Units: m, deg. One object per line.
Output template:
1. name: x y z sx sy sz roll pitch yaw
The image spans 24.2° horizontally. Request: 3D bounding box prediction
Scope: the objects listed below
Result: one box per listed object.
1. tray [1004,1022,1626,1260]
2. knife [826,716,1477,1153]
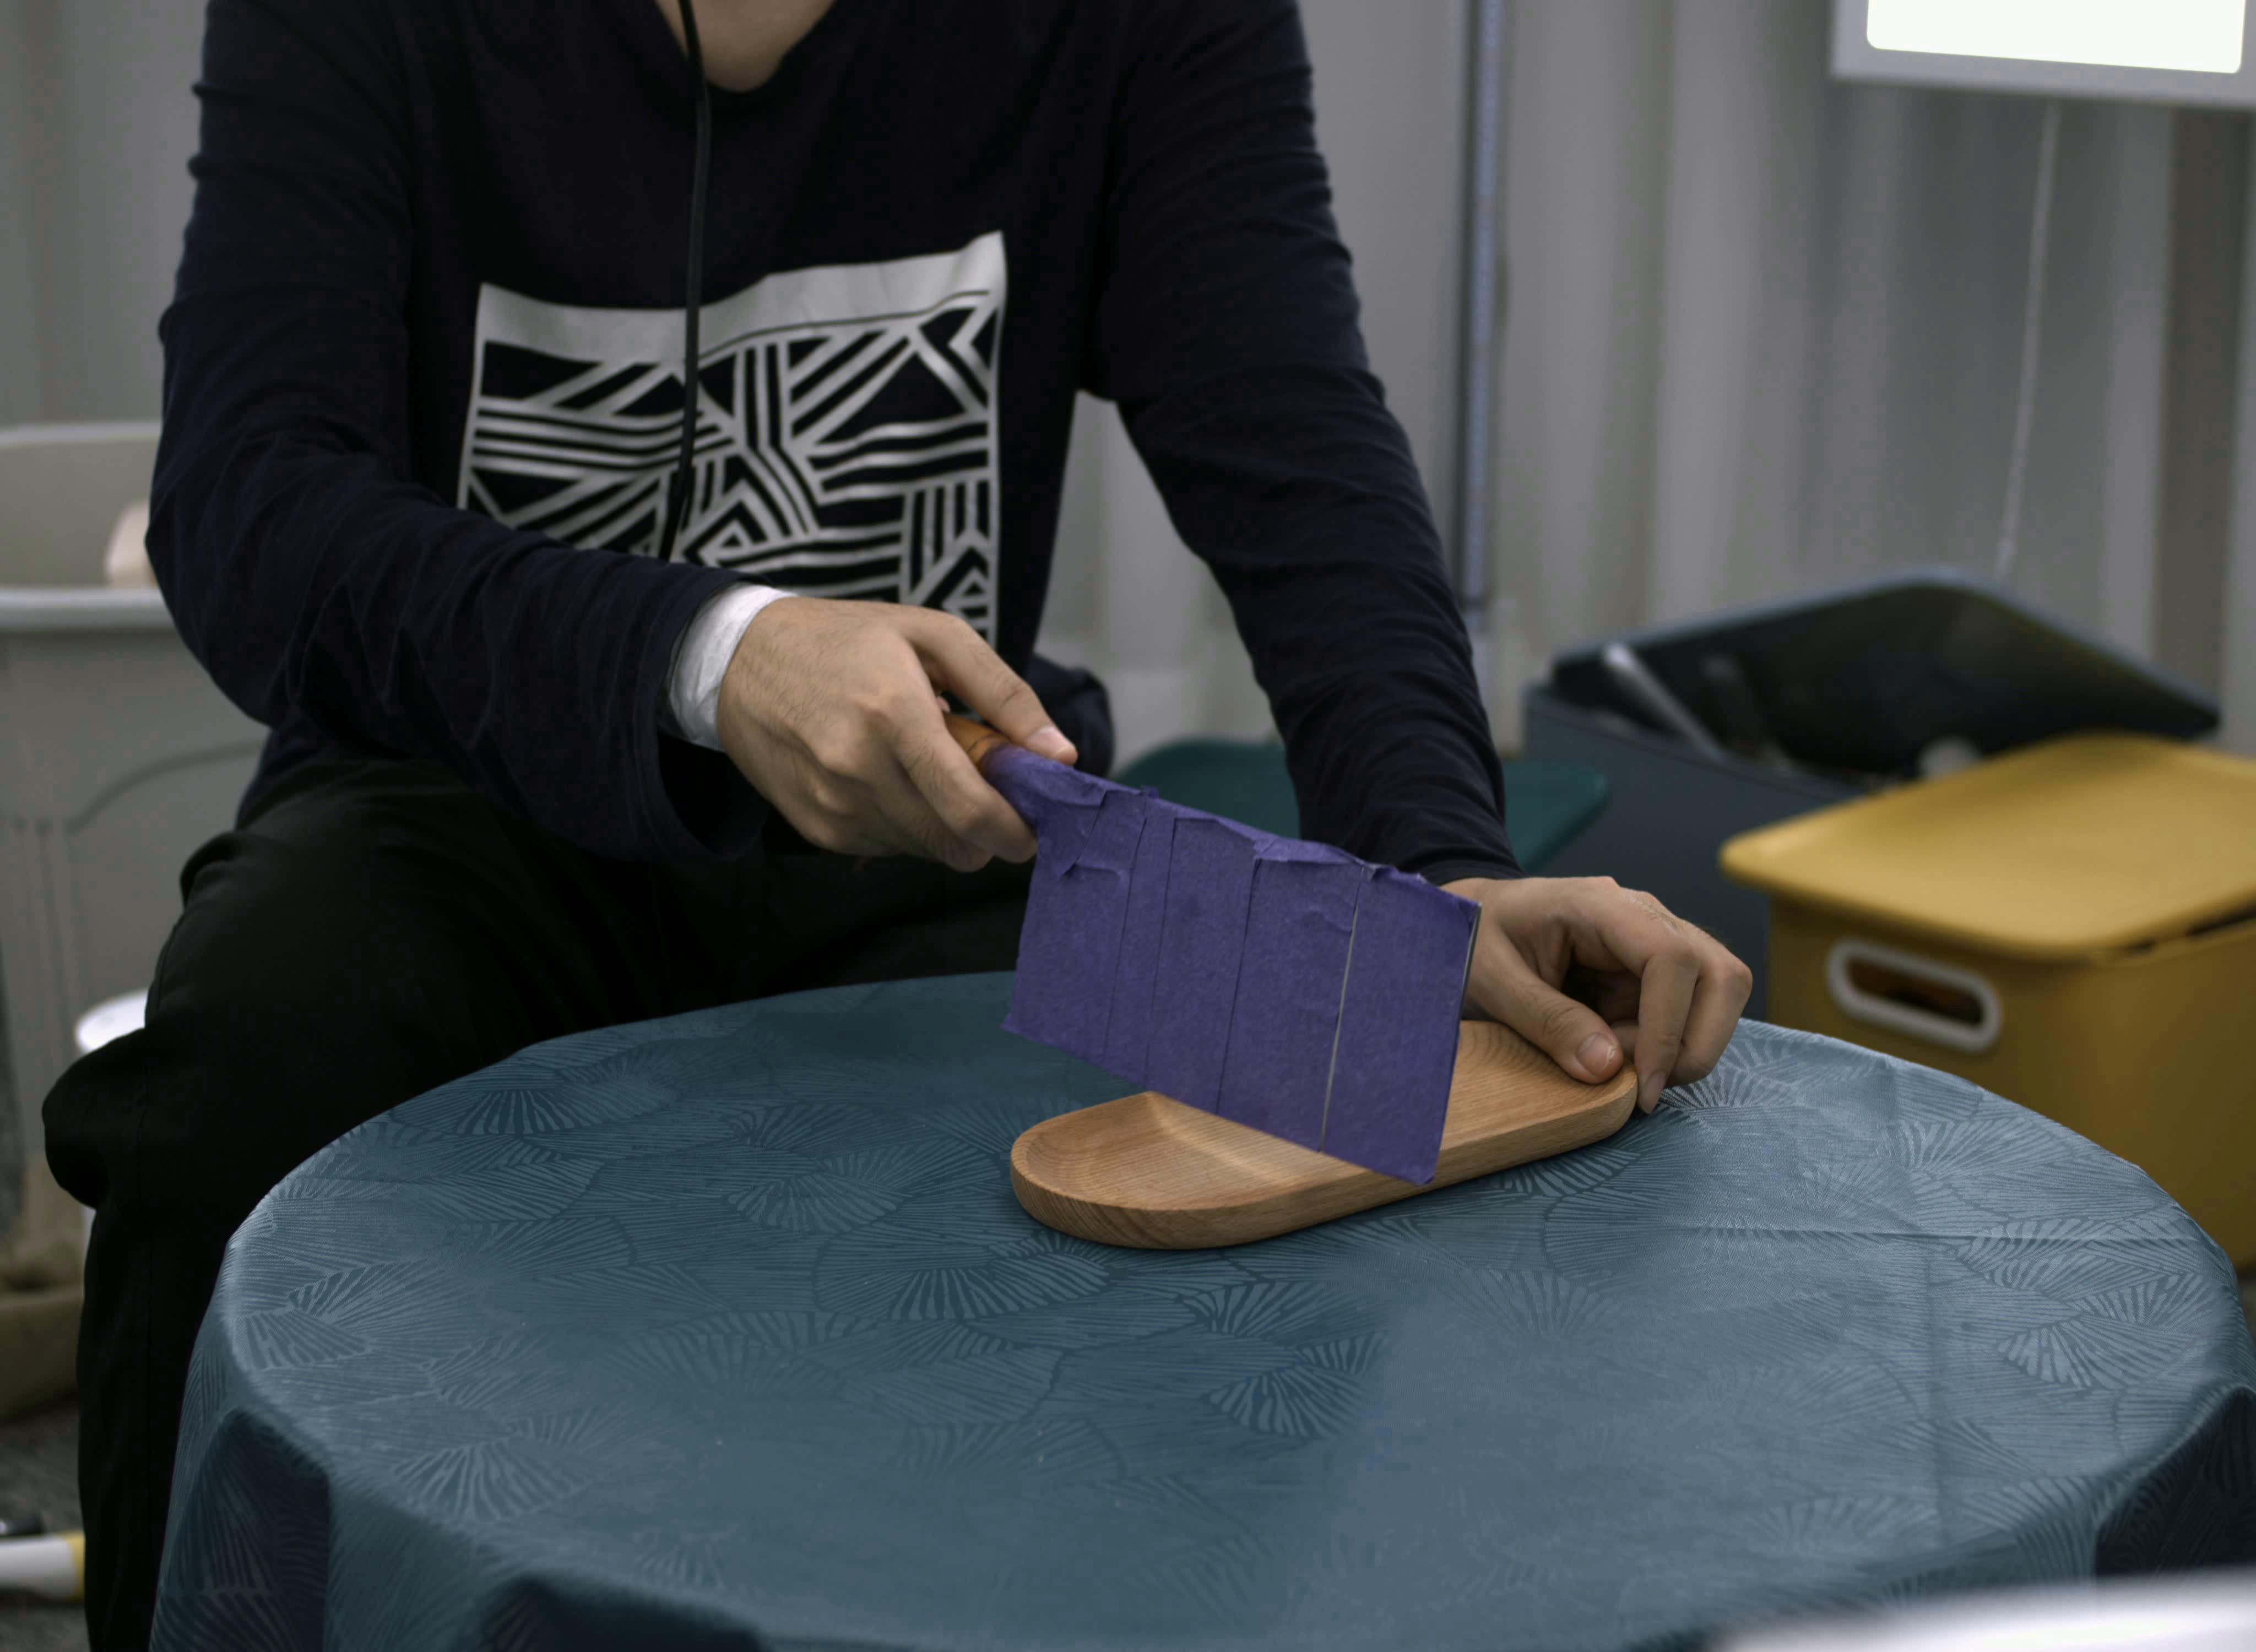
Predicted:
1. tray: 0.061 0.098 1.653 0.232 0.020 0.100 -16 21 -40
2. knife: -0.003 0.033 1.670 0.032 0.104 0.311 7 6 -39
